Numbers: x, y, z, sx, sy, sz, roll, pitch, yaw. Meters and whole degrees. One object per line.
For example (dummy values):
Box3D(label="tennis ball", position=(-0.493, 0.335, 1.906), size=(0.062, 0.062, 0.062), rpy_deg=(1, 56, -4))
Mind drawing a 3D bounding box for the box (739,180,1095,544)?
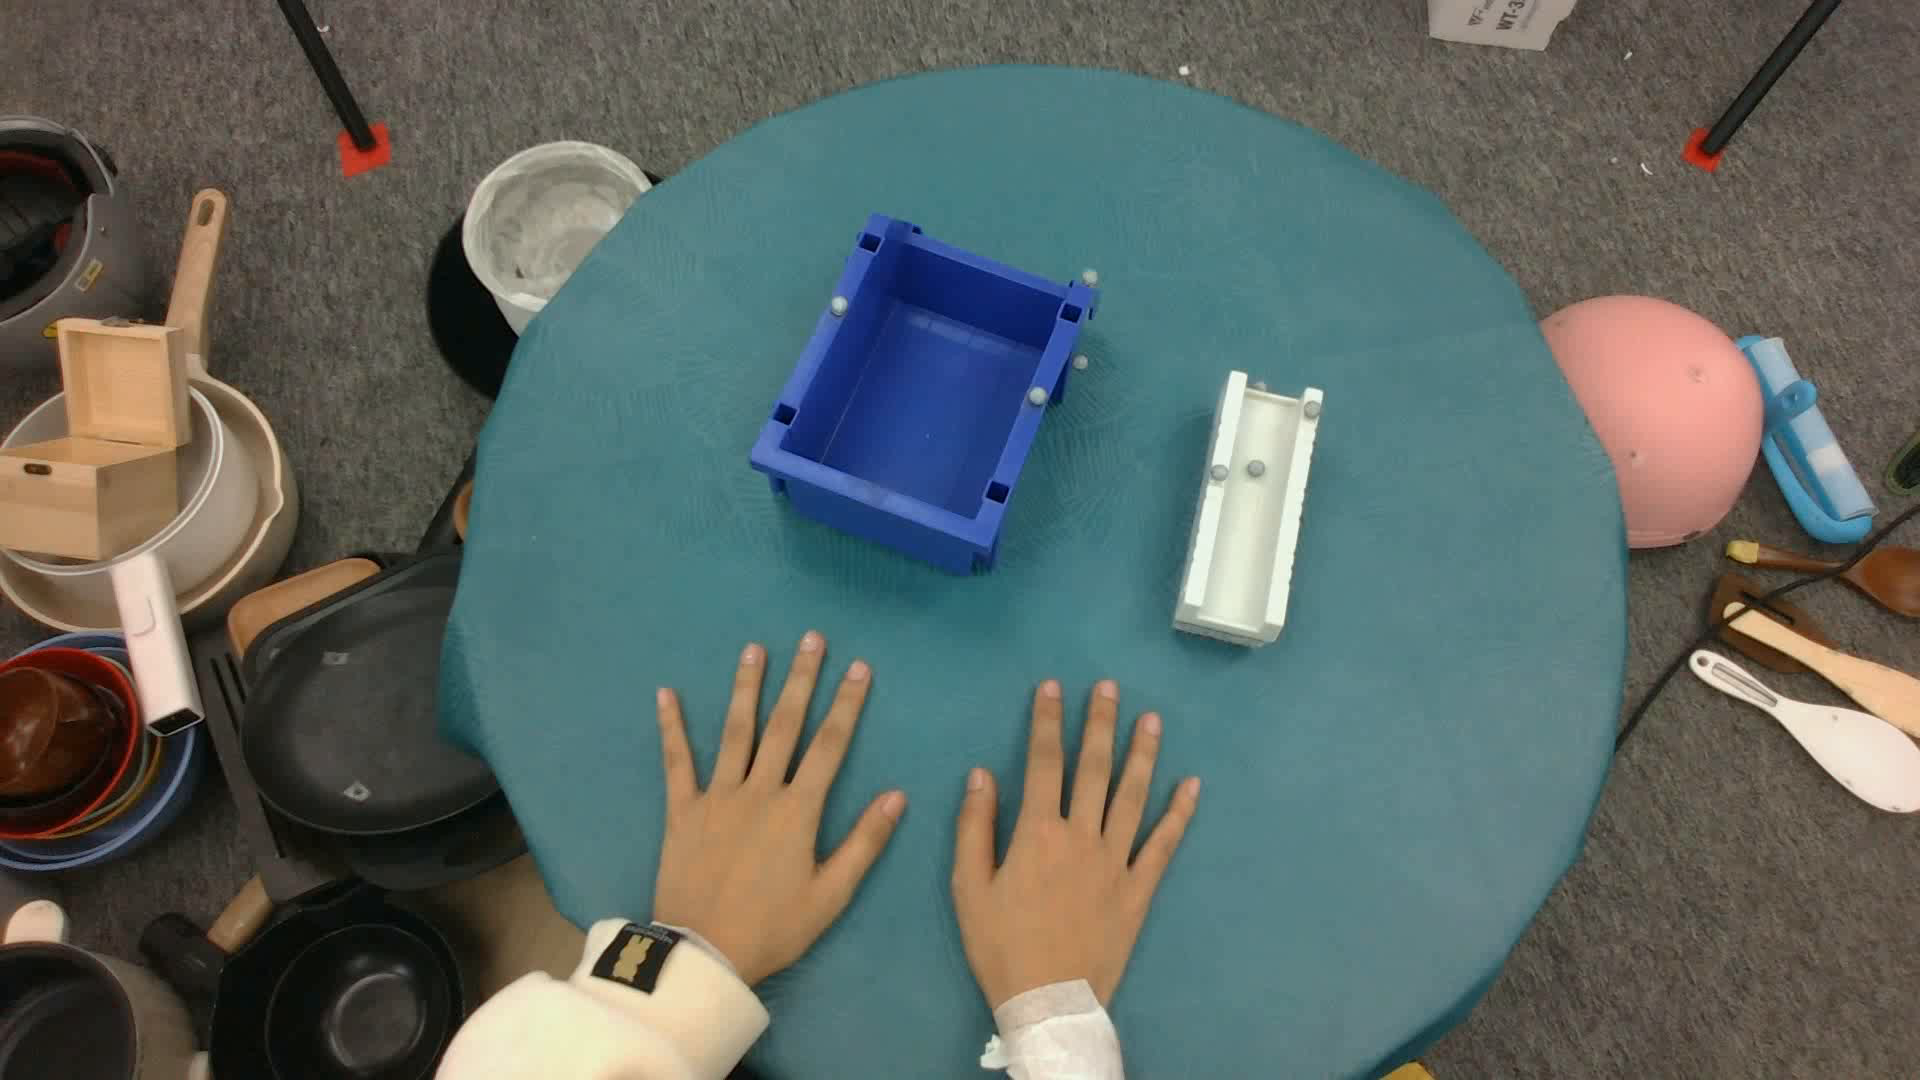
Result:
Box3D(label="box", position=(-0.018, -0.095, 0.701), size=(0.124, 0.081, 0.180), rpy_deg=(22, 70, 6))

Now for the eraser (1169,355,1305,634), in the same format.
Box3D(label="eraser", position=(0.139, -0.023, 0.698), size=(0.050, 0.046, 0.135), rpy_deg=(12, 66, 0))
